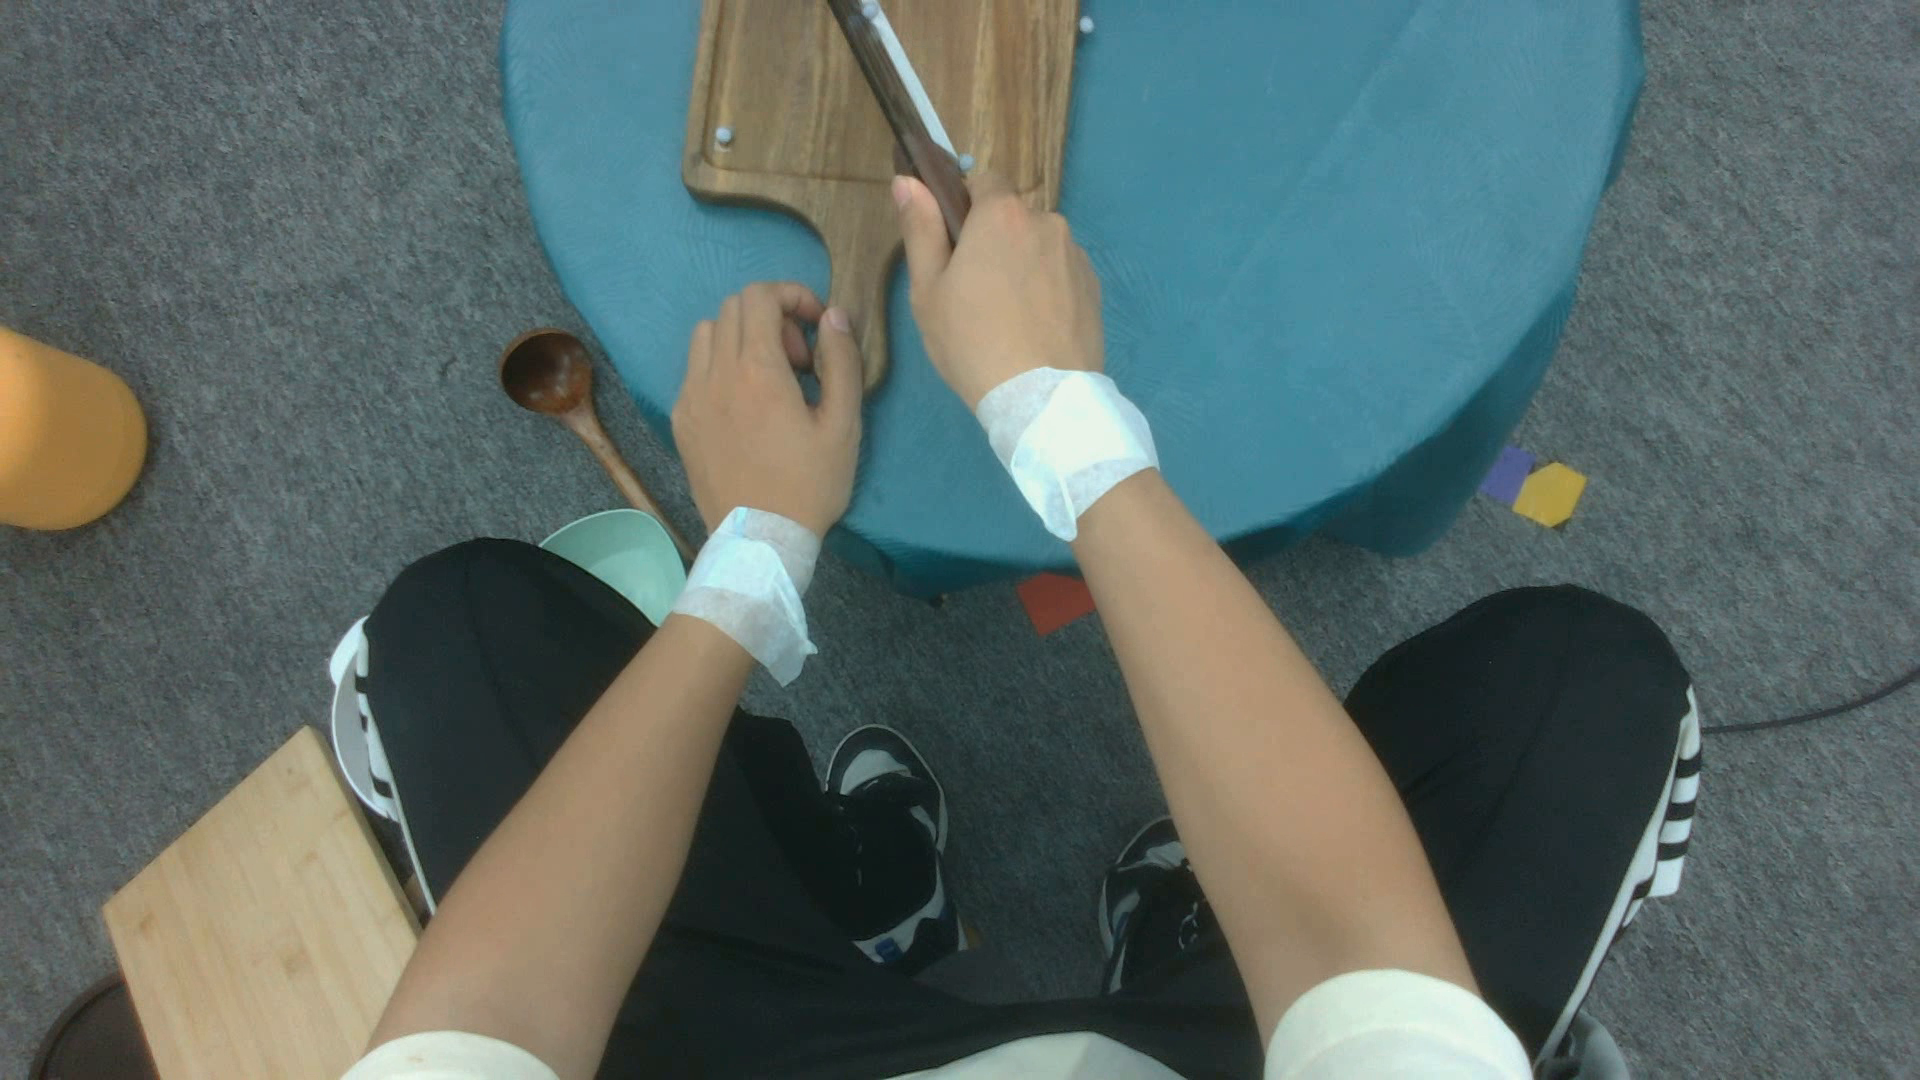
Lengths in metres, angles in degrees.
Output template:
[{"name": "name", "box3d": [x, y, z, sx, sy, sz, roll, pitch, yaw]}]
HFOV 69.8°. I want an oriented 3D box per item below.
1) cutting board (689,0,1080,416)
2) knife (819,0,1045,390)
[{"name": "cutting board", "box3d": [-0.041, -0.240, 0.741, 0.201, 0.023, 0.352, 5, 82, 4]}, {"name": "knife", "box3d": [-0.022, -0.201, 0.677, 0.024, 0.068, 0.300, -32, 75, 25]}]
